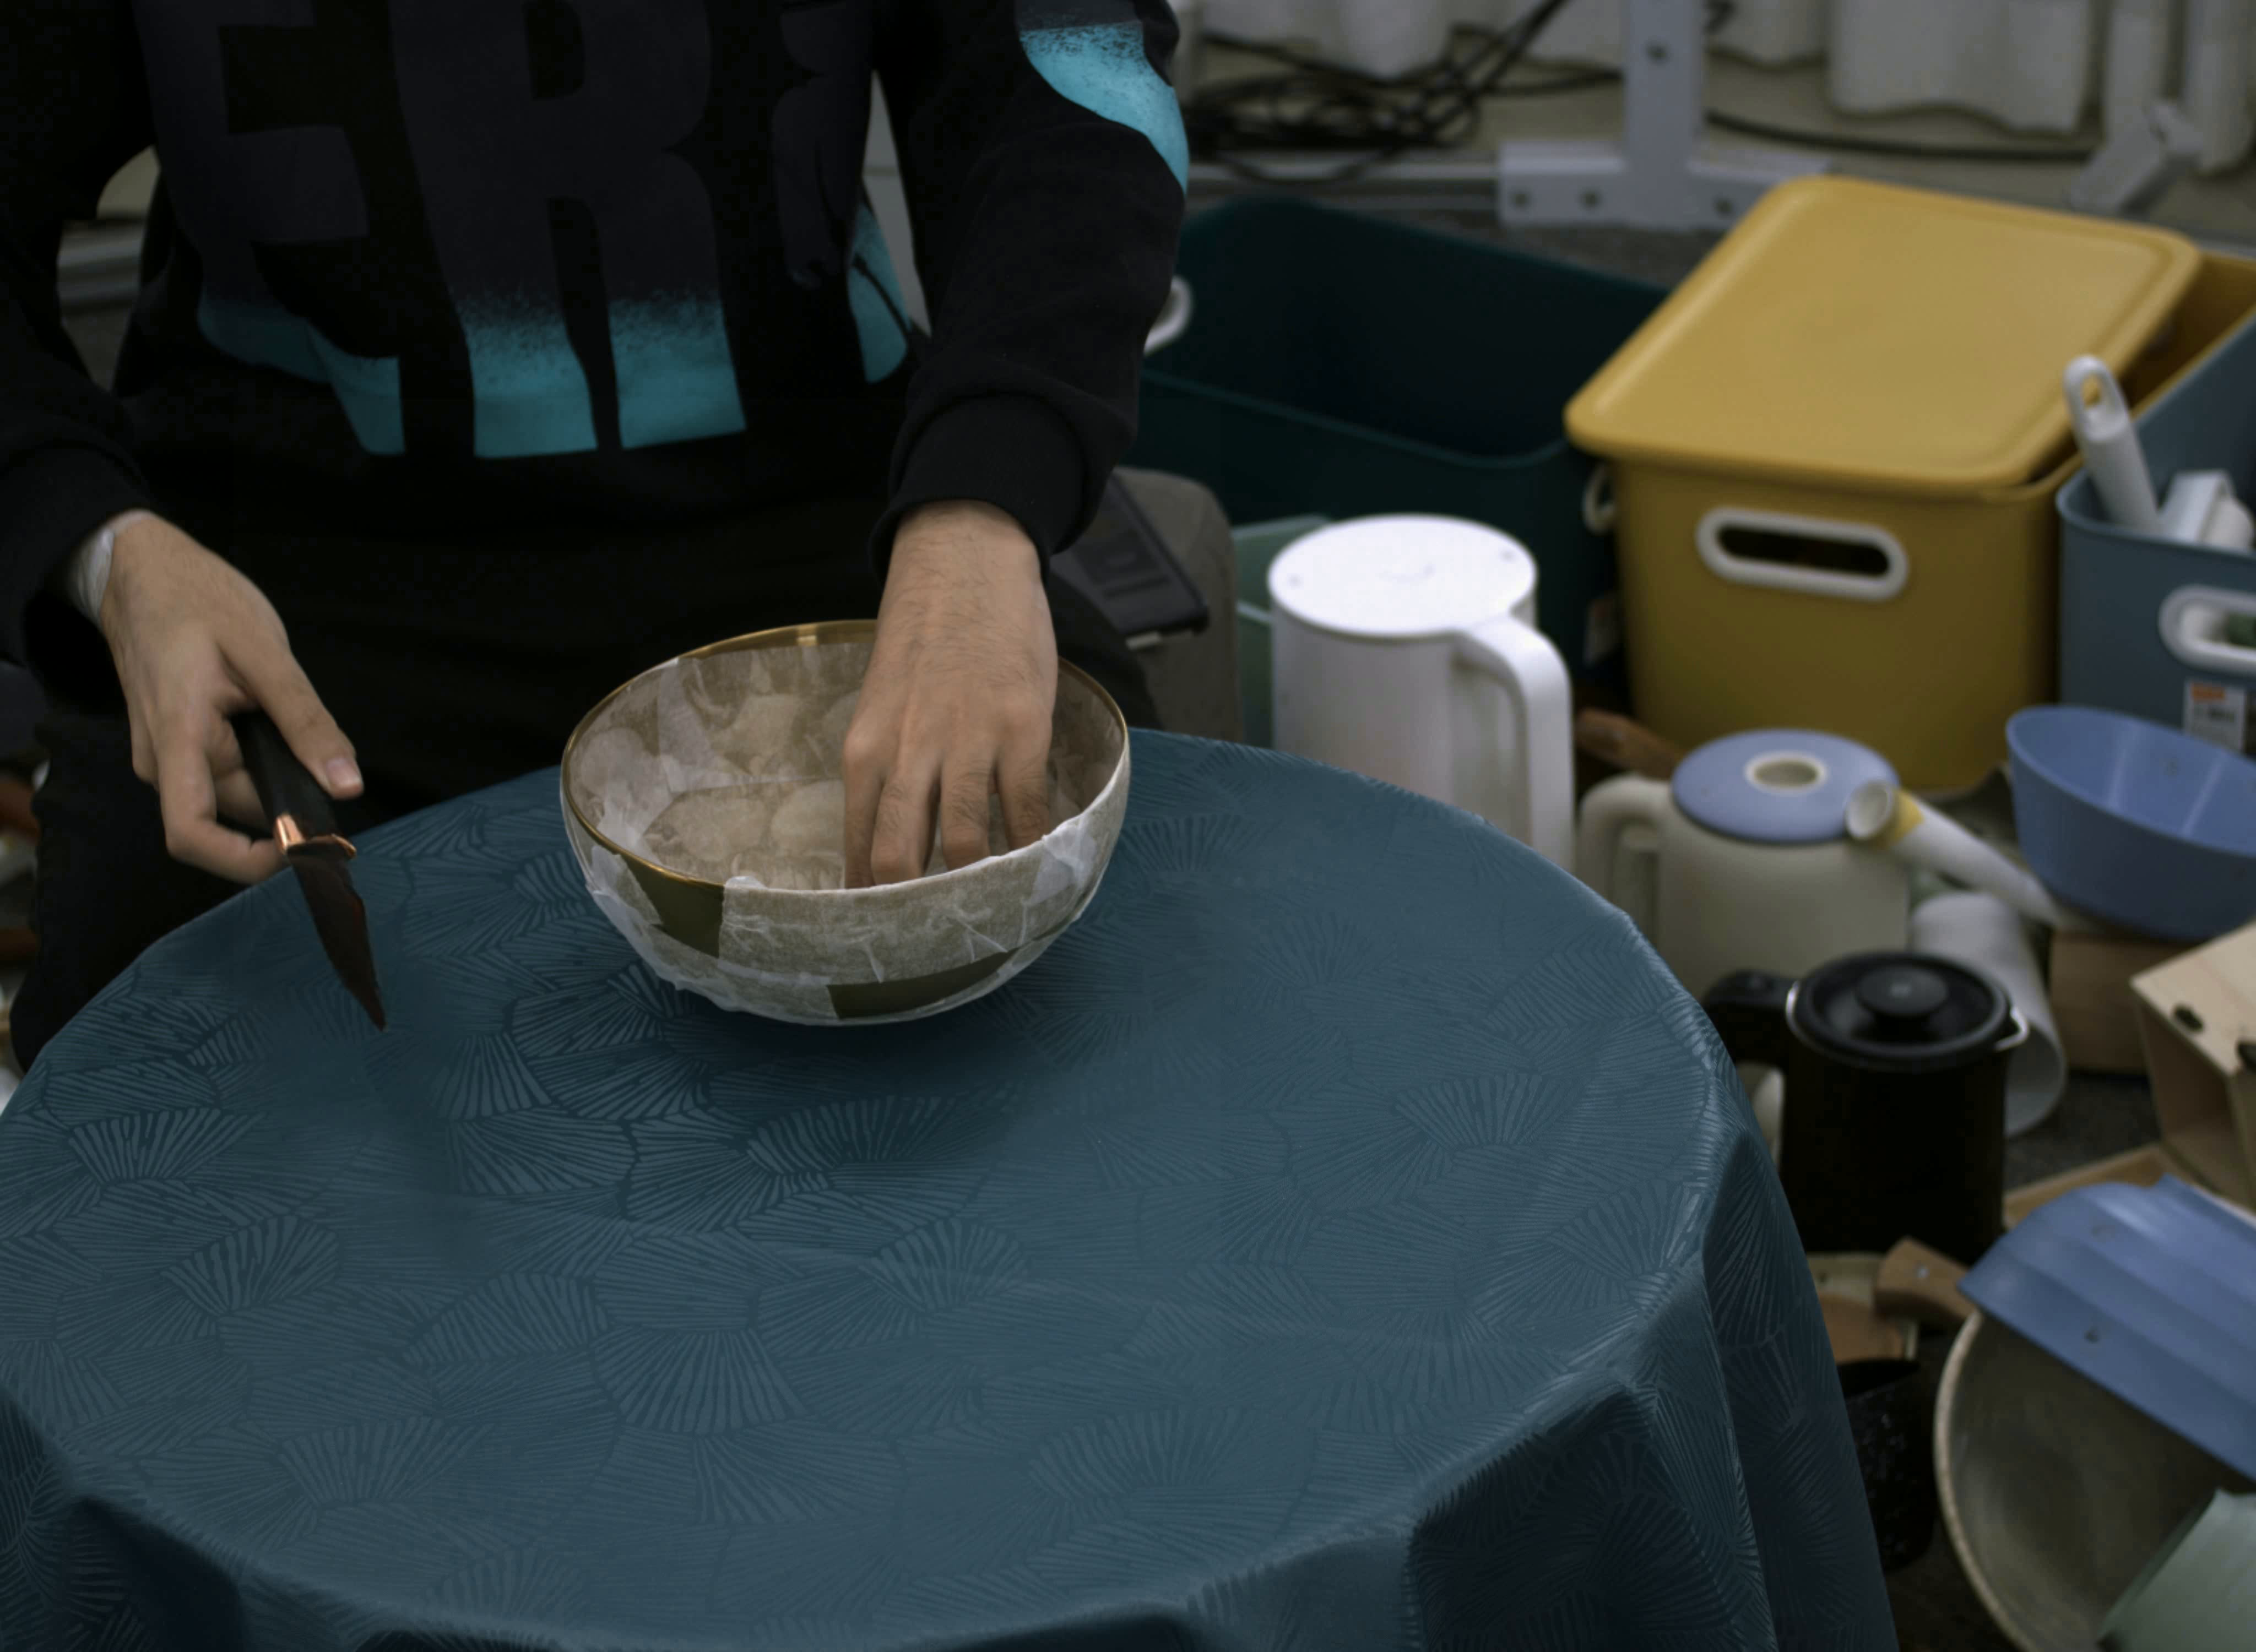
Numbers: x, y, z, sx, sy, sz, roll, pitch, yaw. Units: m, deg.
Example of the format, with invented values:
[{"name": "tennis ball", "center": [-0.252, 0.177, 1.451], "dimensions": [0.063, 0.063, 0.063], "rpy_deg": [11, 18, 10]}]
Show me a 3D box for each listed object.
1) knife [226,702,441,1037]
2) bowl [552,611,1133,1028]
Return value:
[{"name": "knife", "center": [-0.272, 0.014, 1.912], "dimensions": [0.026, 0.017, 0.227], "rpy_deg": [6, 26, -27]}, {"name": "bowl", "center": [-0.096, 0.009, 1.984], "dimensions": [0.213, 0.093, 0.218], "rpy_deg": [-3, 28, 2]}]
